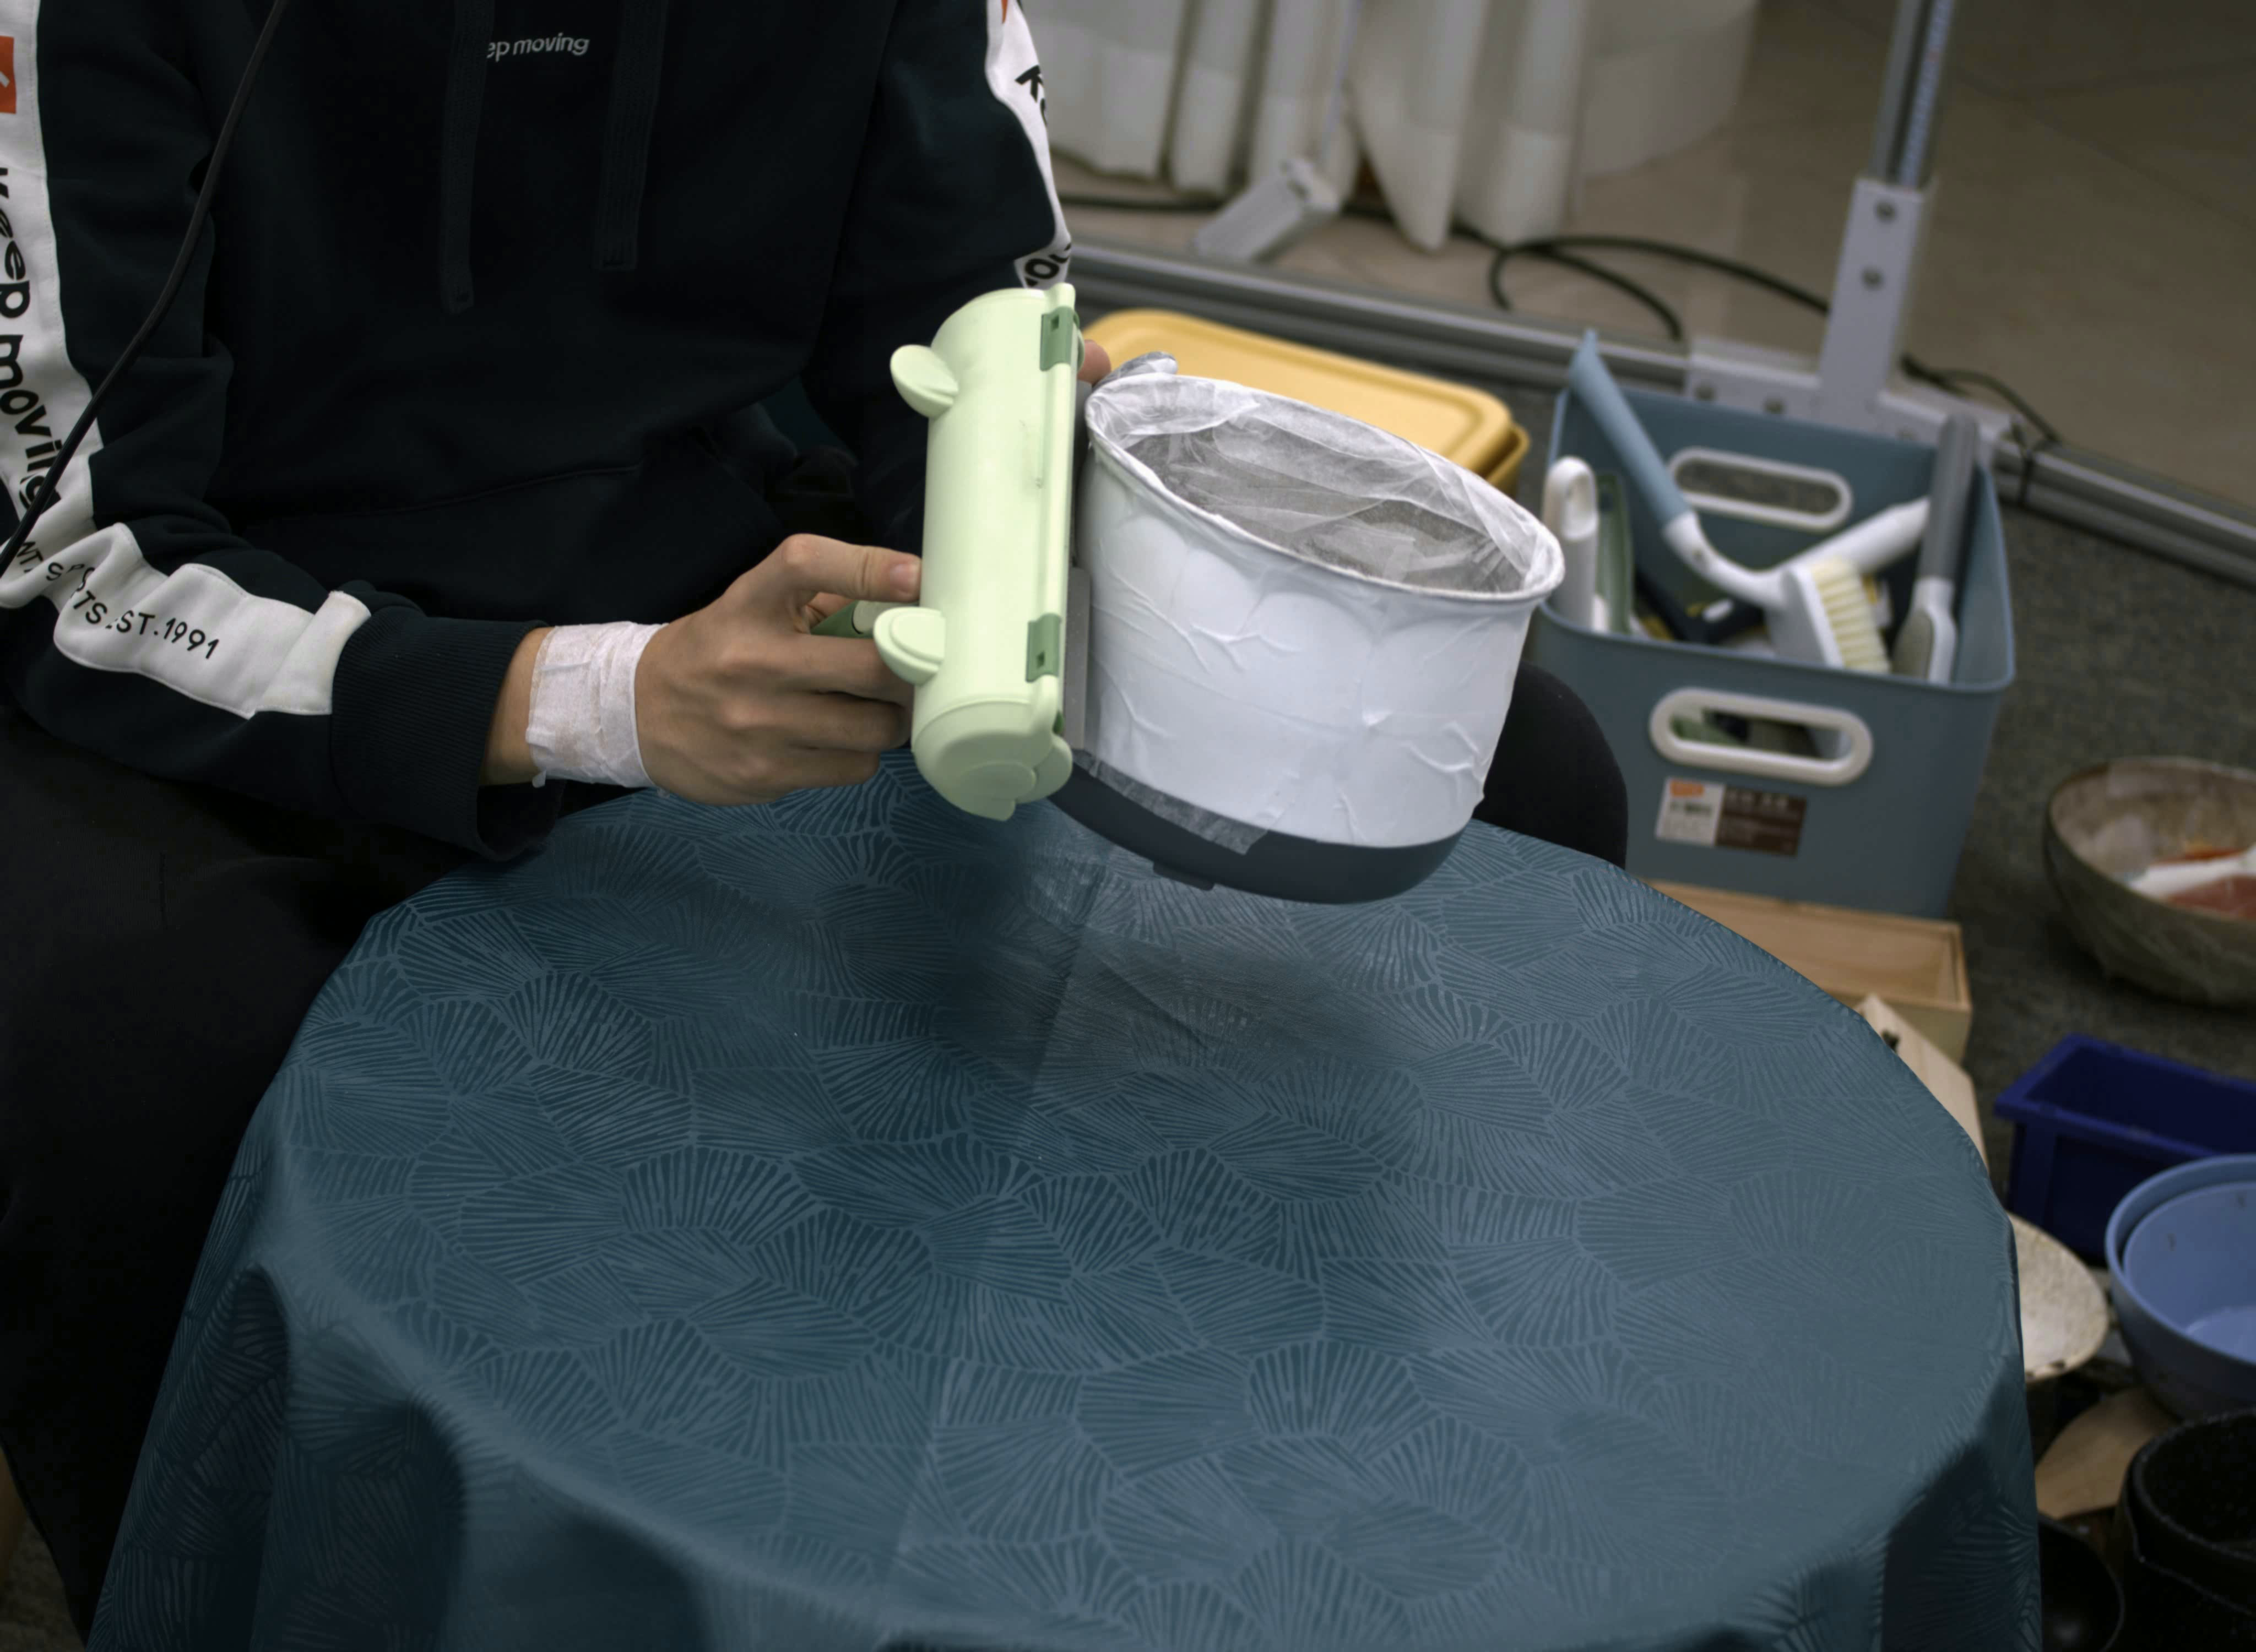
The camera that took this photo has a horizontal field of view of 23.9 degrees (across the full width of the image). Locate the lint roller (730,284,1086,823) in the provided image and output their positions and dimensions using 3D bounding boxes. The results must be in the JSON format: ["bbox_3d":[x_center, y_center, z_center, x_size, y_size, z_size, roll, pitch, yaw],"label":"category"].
[{"bbox_3d":[-0.090,-0.077,1.833,0.081,0.183,0.200,36,41,-37],"label":"lint roller"}]

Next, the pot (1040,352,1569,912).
[{"bbox_3d":[0.033,-0.075,1.886,0.177,0.136,0.236,2,28,-42],"label":"pot"}]
